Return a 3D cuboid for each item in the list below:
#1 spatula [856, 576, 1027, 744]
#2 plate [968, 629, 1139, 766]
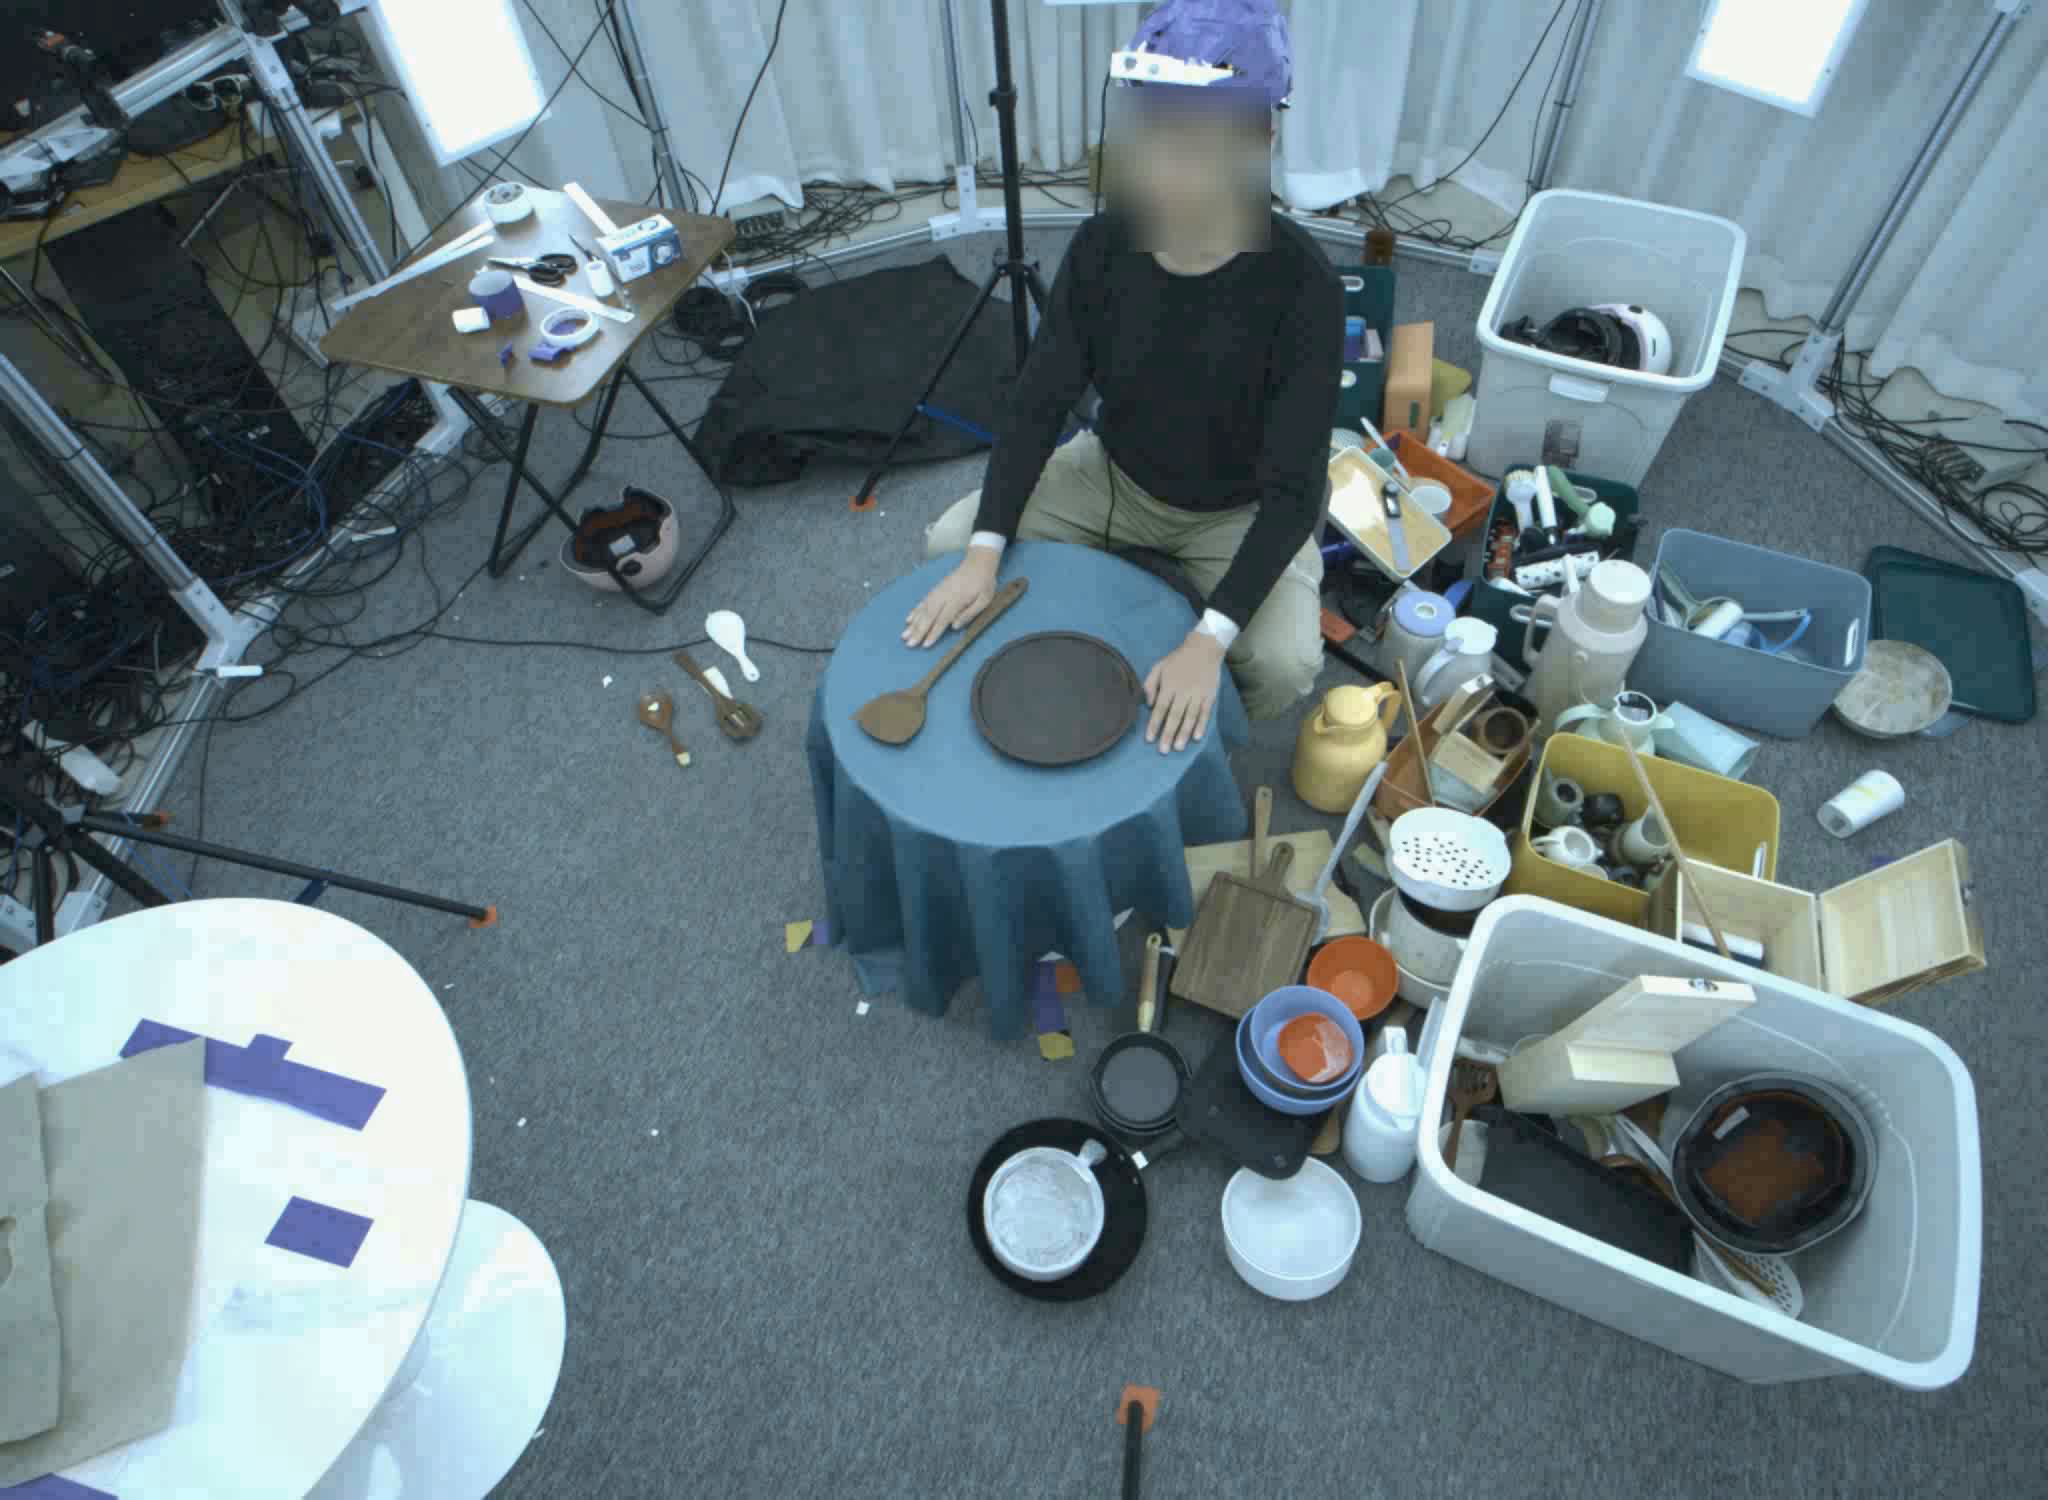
[{"bbox_3d":[-0.111,-0.150,1.888,0.094,0.016,0.387,29,61,20],"label":"spatula"},{"bbox_3d":[0.045,-0.079,1.827,0.254,0.029,0.252,-1,54,3],"label":"plate"}]
